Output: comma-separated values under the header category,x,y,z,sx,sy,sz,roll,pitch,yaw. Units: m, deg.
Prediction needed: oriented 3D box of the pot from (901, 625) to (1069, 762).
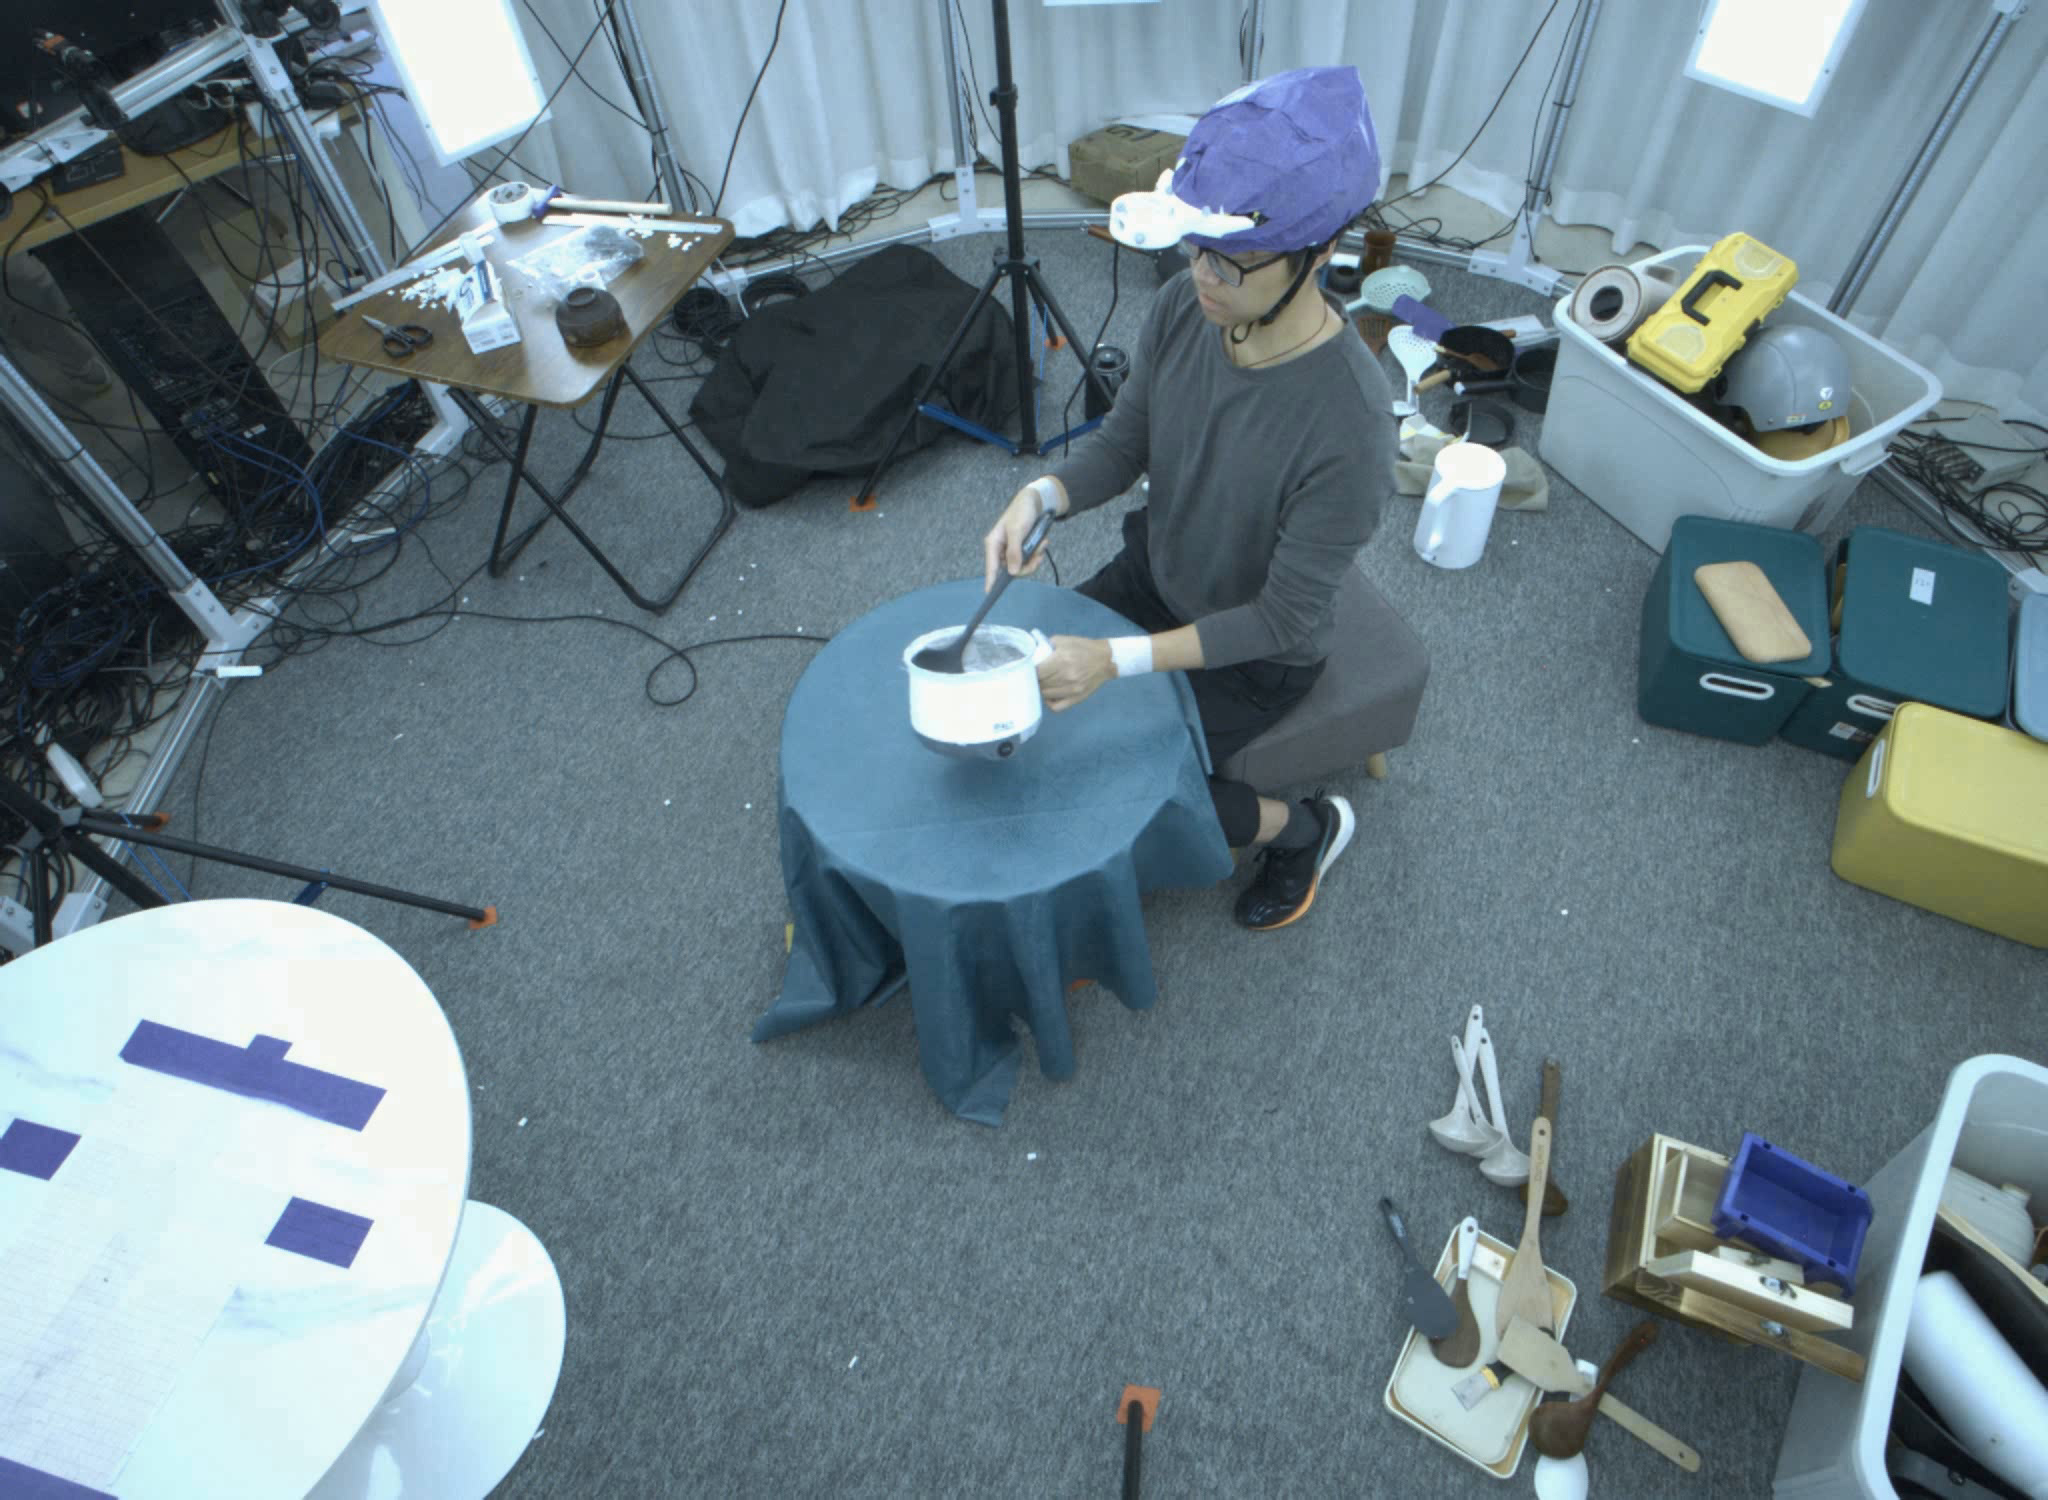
category,x,y,z,sx,sy,sz,roll,pitch,yaw
pot,-0.047,-0.084,1.673,0.237,0.138,0.174,-18,32,-25

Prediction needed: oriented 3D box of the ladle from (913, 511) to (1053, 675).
category,x,y,z,sx,sy,sz,roll,pitch,yaw
ladle,-0.044,-0.205,1.674,0.087,0.063,0.314,37,81,-18
